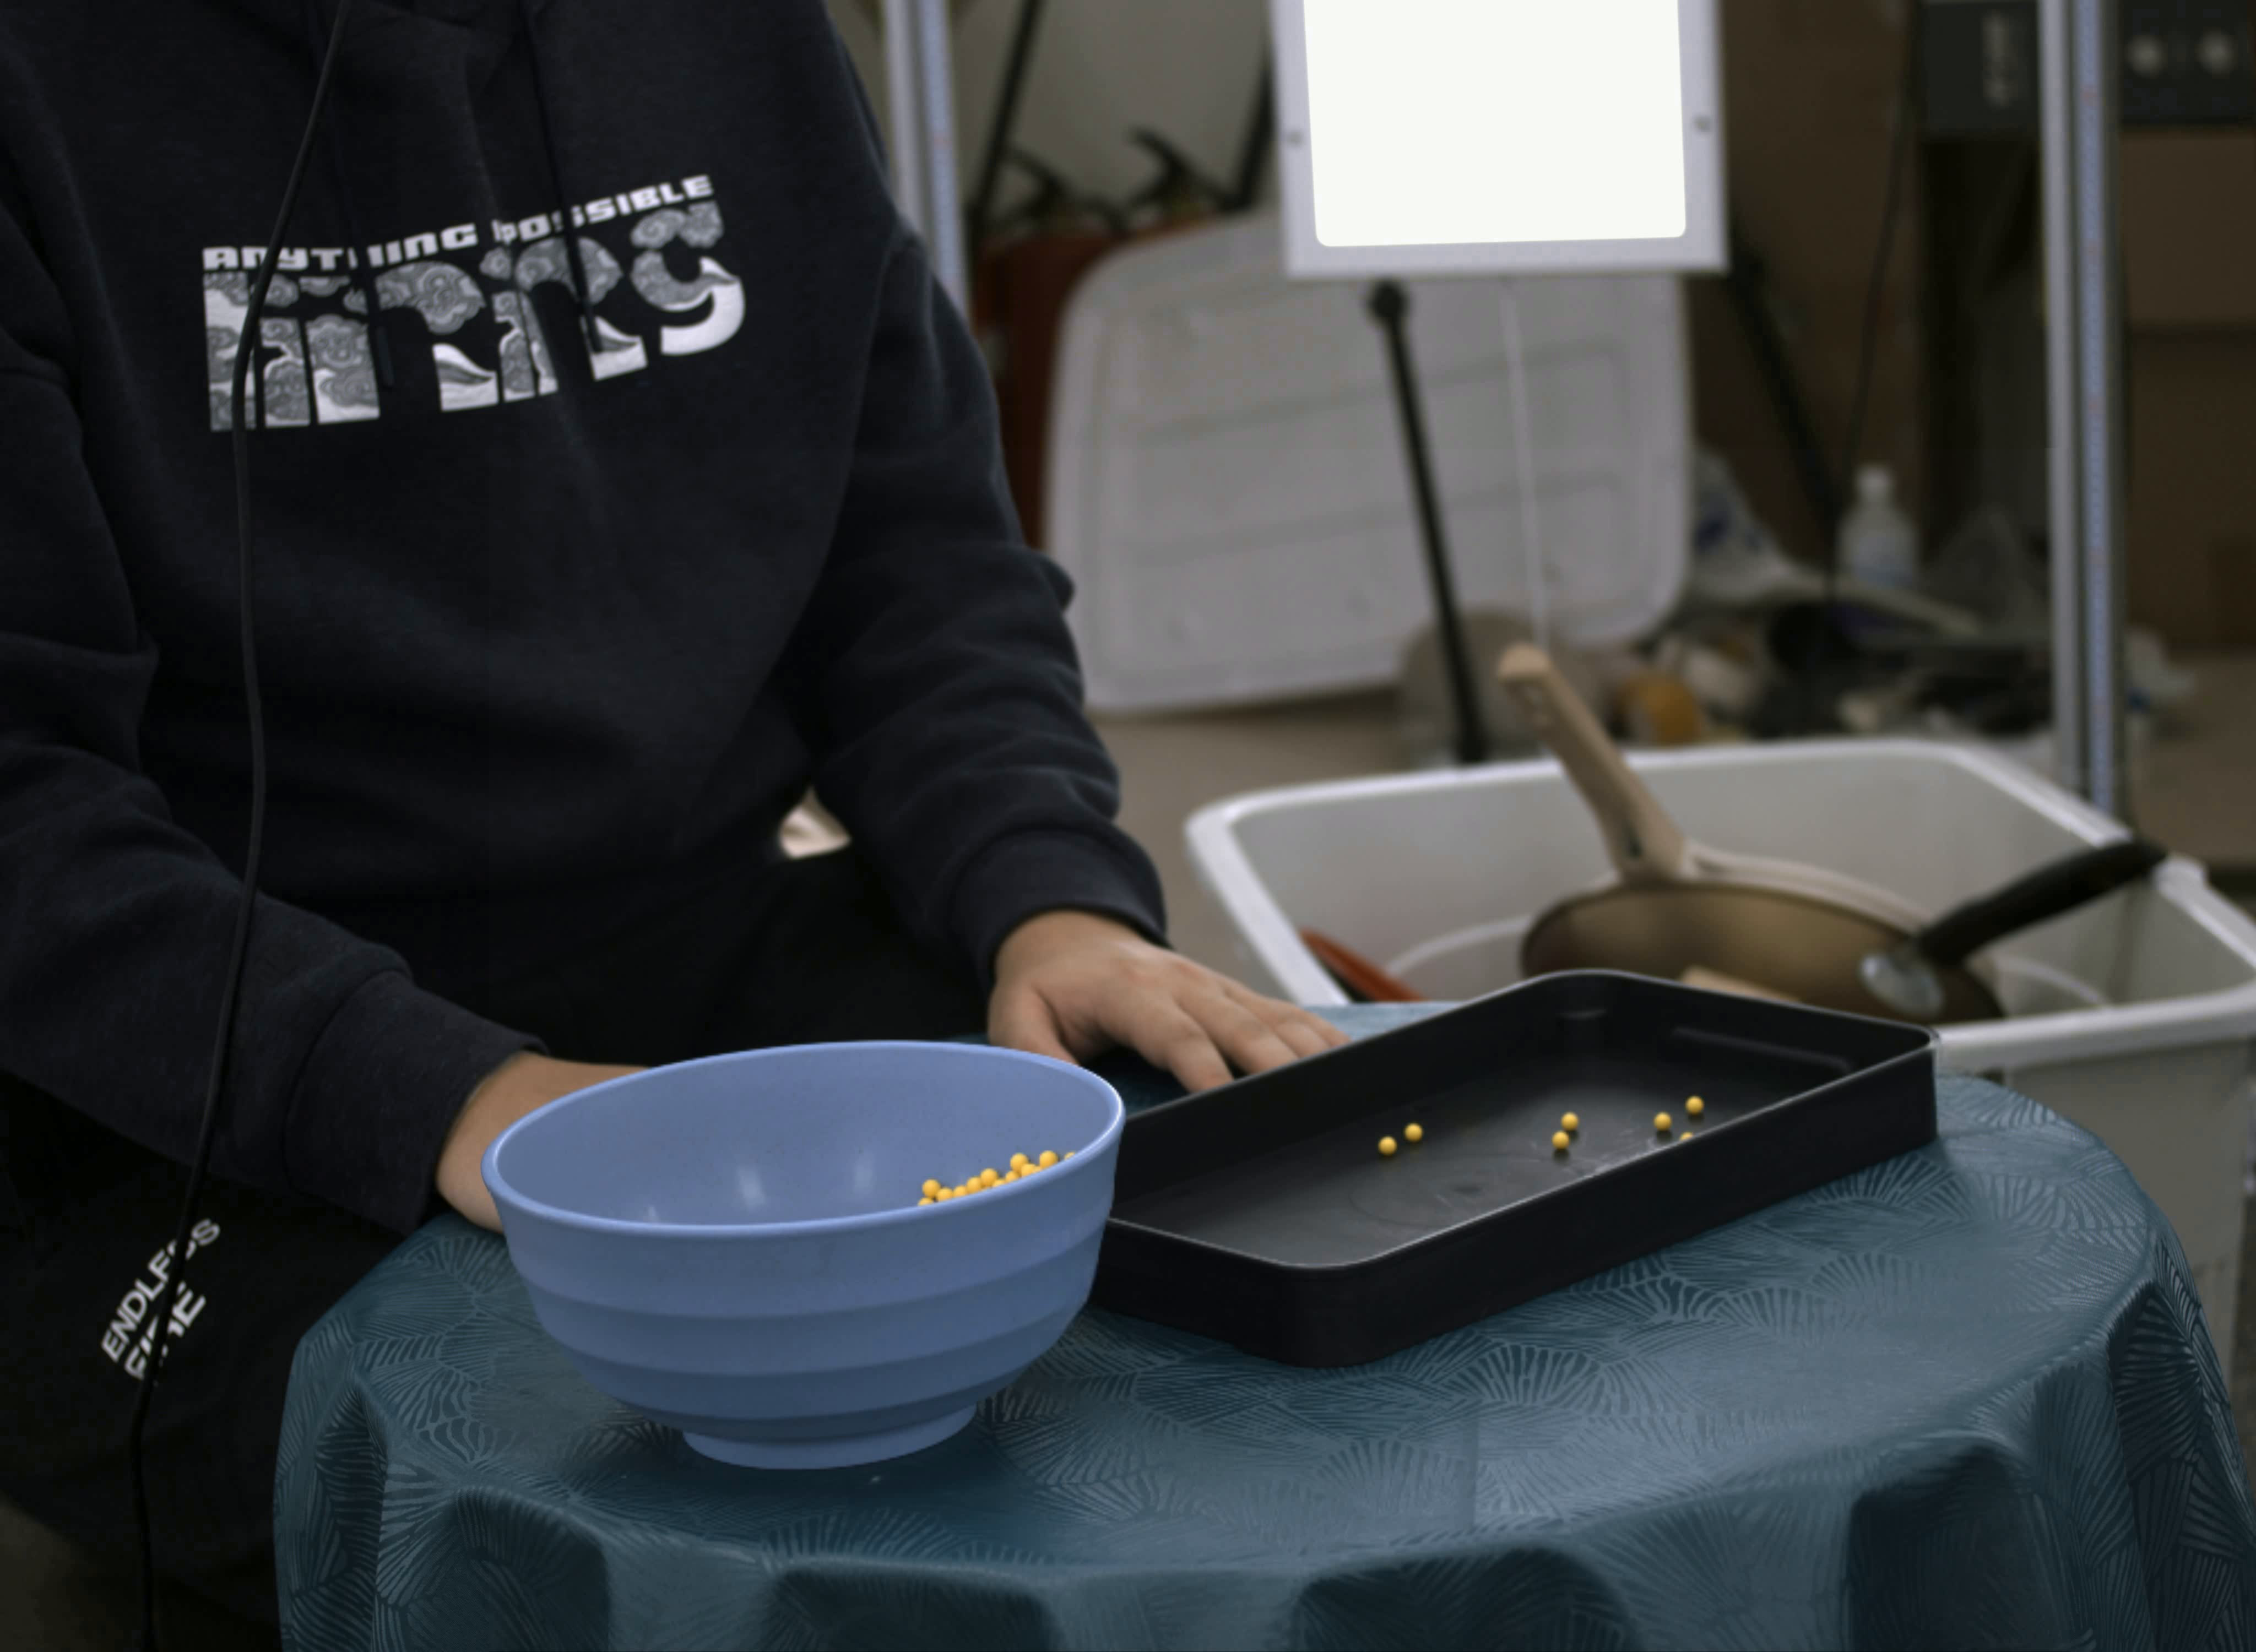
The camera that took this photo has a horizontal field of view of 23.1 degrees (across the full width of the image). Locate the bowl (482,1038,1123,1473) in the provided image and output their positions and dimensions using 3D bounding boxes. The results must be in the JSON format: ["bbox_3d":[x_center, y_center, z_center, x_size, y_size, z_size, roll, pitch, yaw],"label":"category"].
[{"bbox_3d":[-0.095,0.137,1.687,0.196,0.096,0.196,-6,14,0],"label":"bowl"}]

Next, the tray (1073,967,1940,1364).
[{"bbox_3d":[0.114,0.109,1.850,0.310,0.037,0.188,-16,17,-39],"label":"tray"}]
